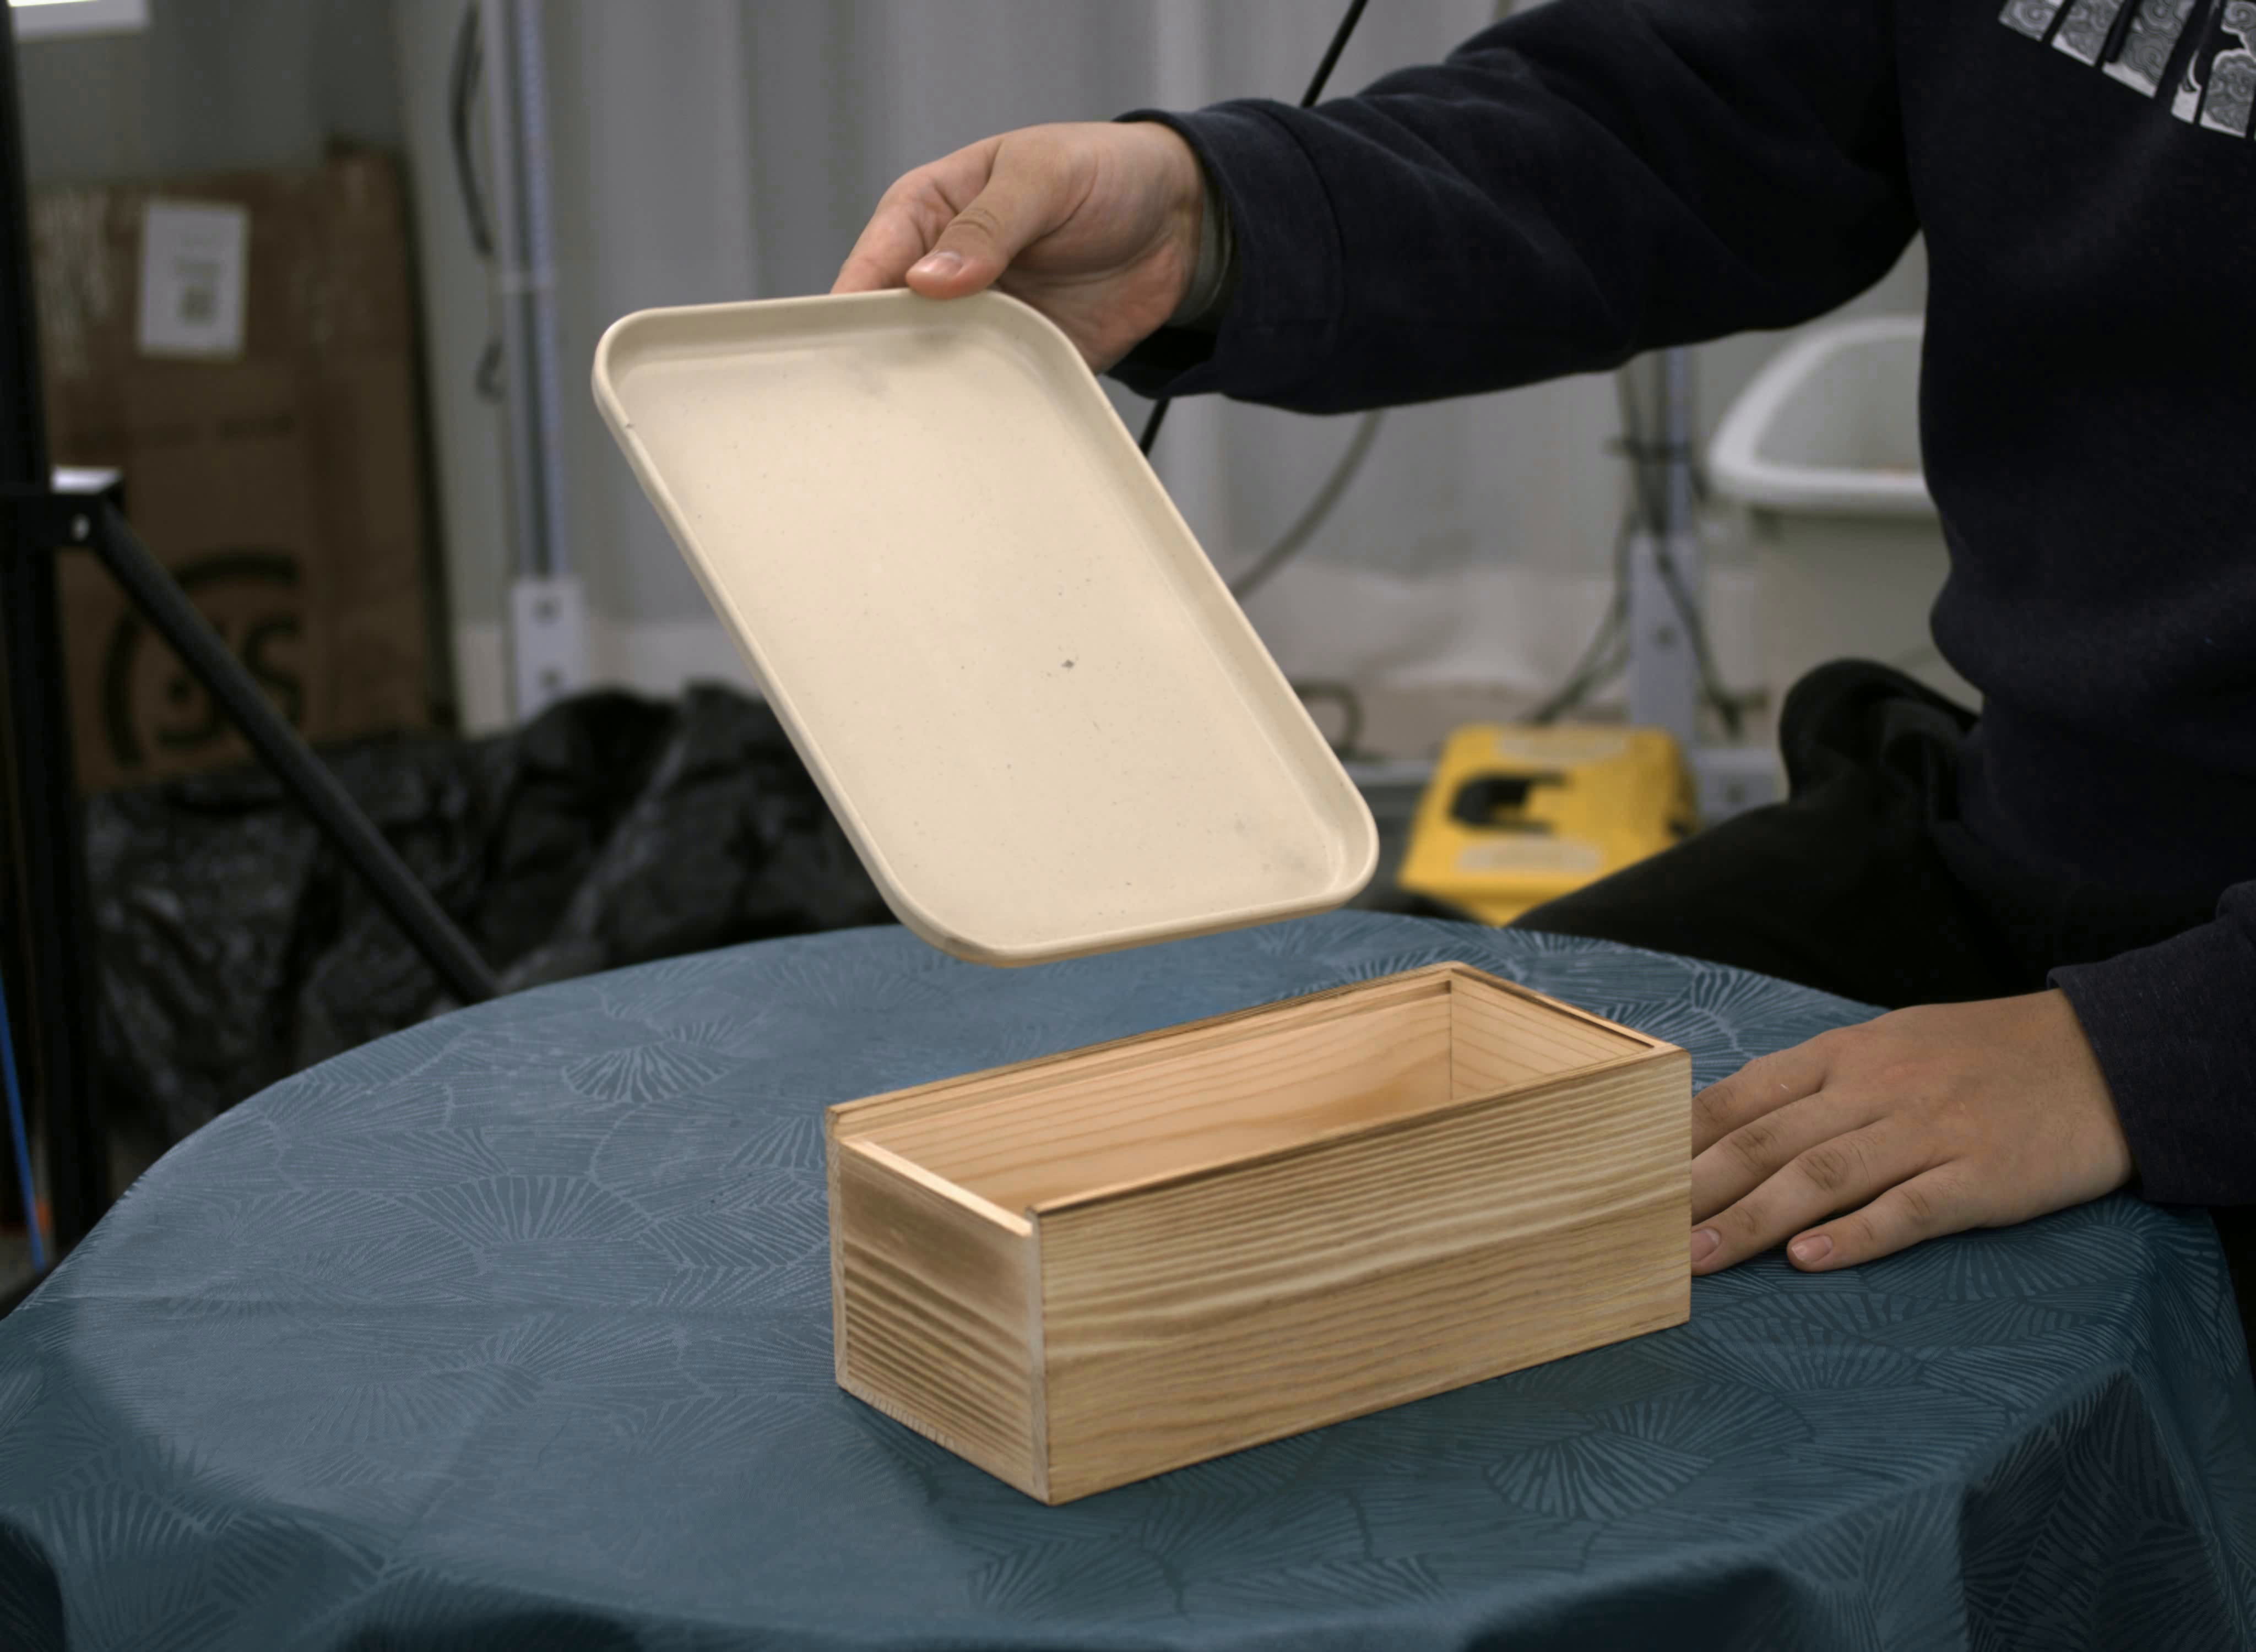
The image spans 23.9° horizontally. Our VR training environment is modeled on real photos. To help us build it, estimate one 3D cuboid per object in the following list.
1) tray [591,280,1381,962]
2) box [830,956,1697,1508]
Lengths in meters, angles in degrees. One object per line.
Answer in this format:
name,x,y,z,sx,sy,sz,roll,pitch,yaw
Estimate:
tray,-0.042,-0.060,1.508,0.167,0.017,0.244,-8,54,-37
box,0.038,0.105,1.418,0.206,0.080,0.110,-12,19,-31
